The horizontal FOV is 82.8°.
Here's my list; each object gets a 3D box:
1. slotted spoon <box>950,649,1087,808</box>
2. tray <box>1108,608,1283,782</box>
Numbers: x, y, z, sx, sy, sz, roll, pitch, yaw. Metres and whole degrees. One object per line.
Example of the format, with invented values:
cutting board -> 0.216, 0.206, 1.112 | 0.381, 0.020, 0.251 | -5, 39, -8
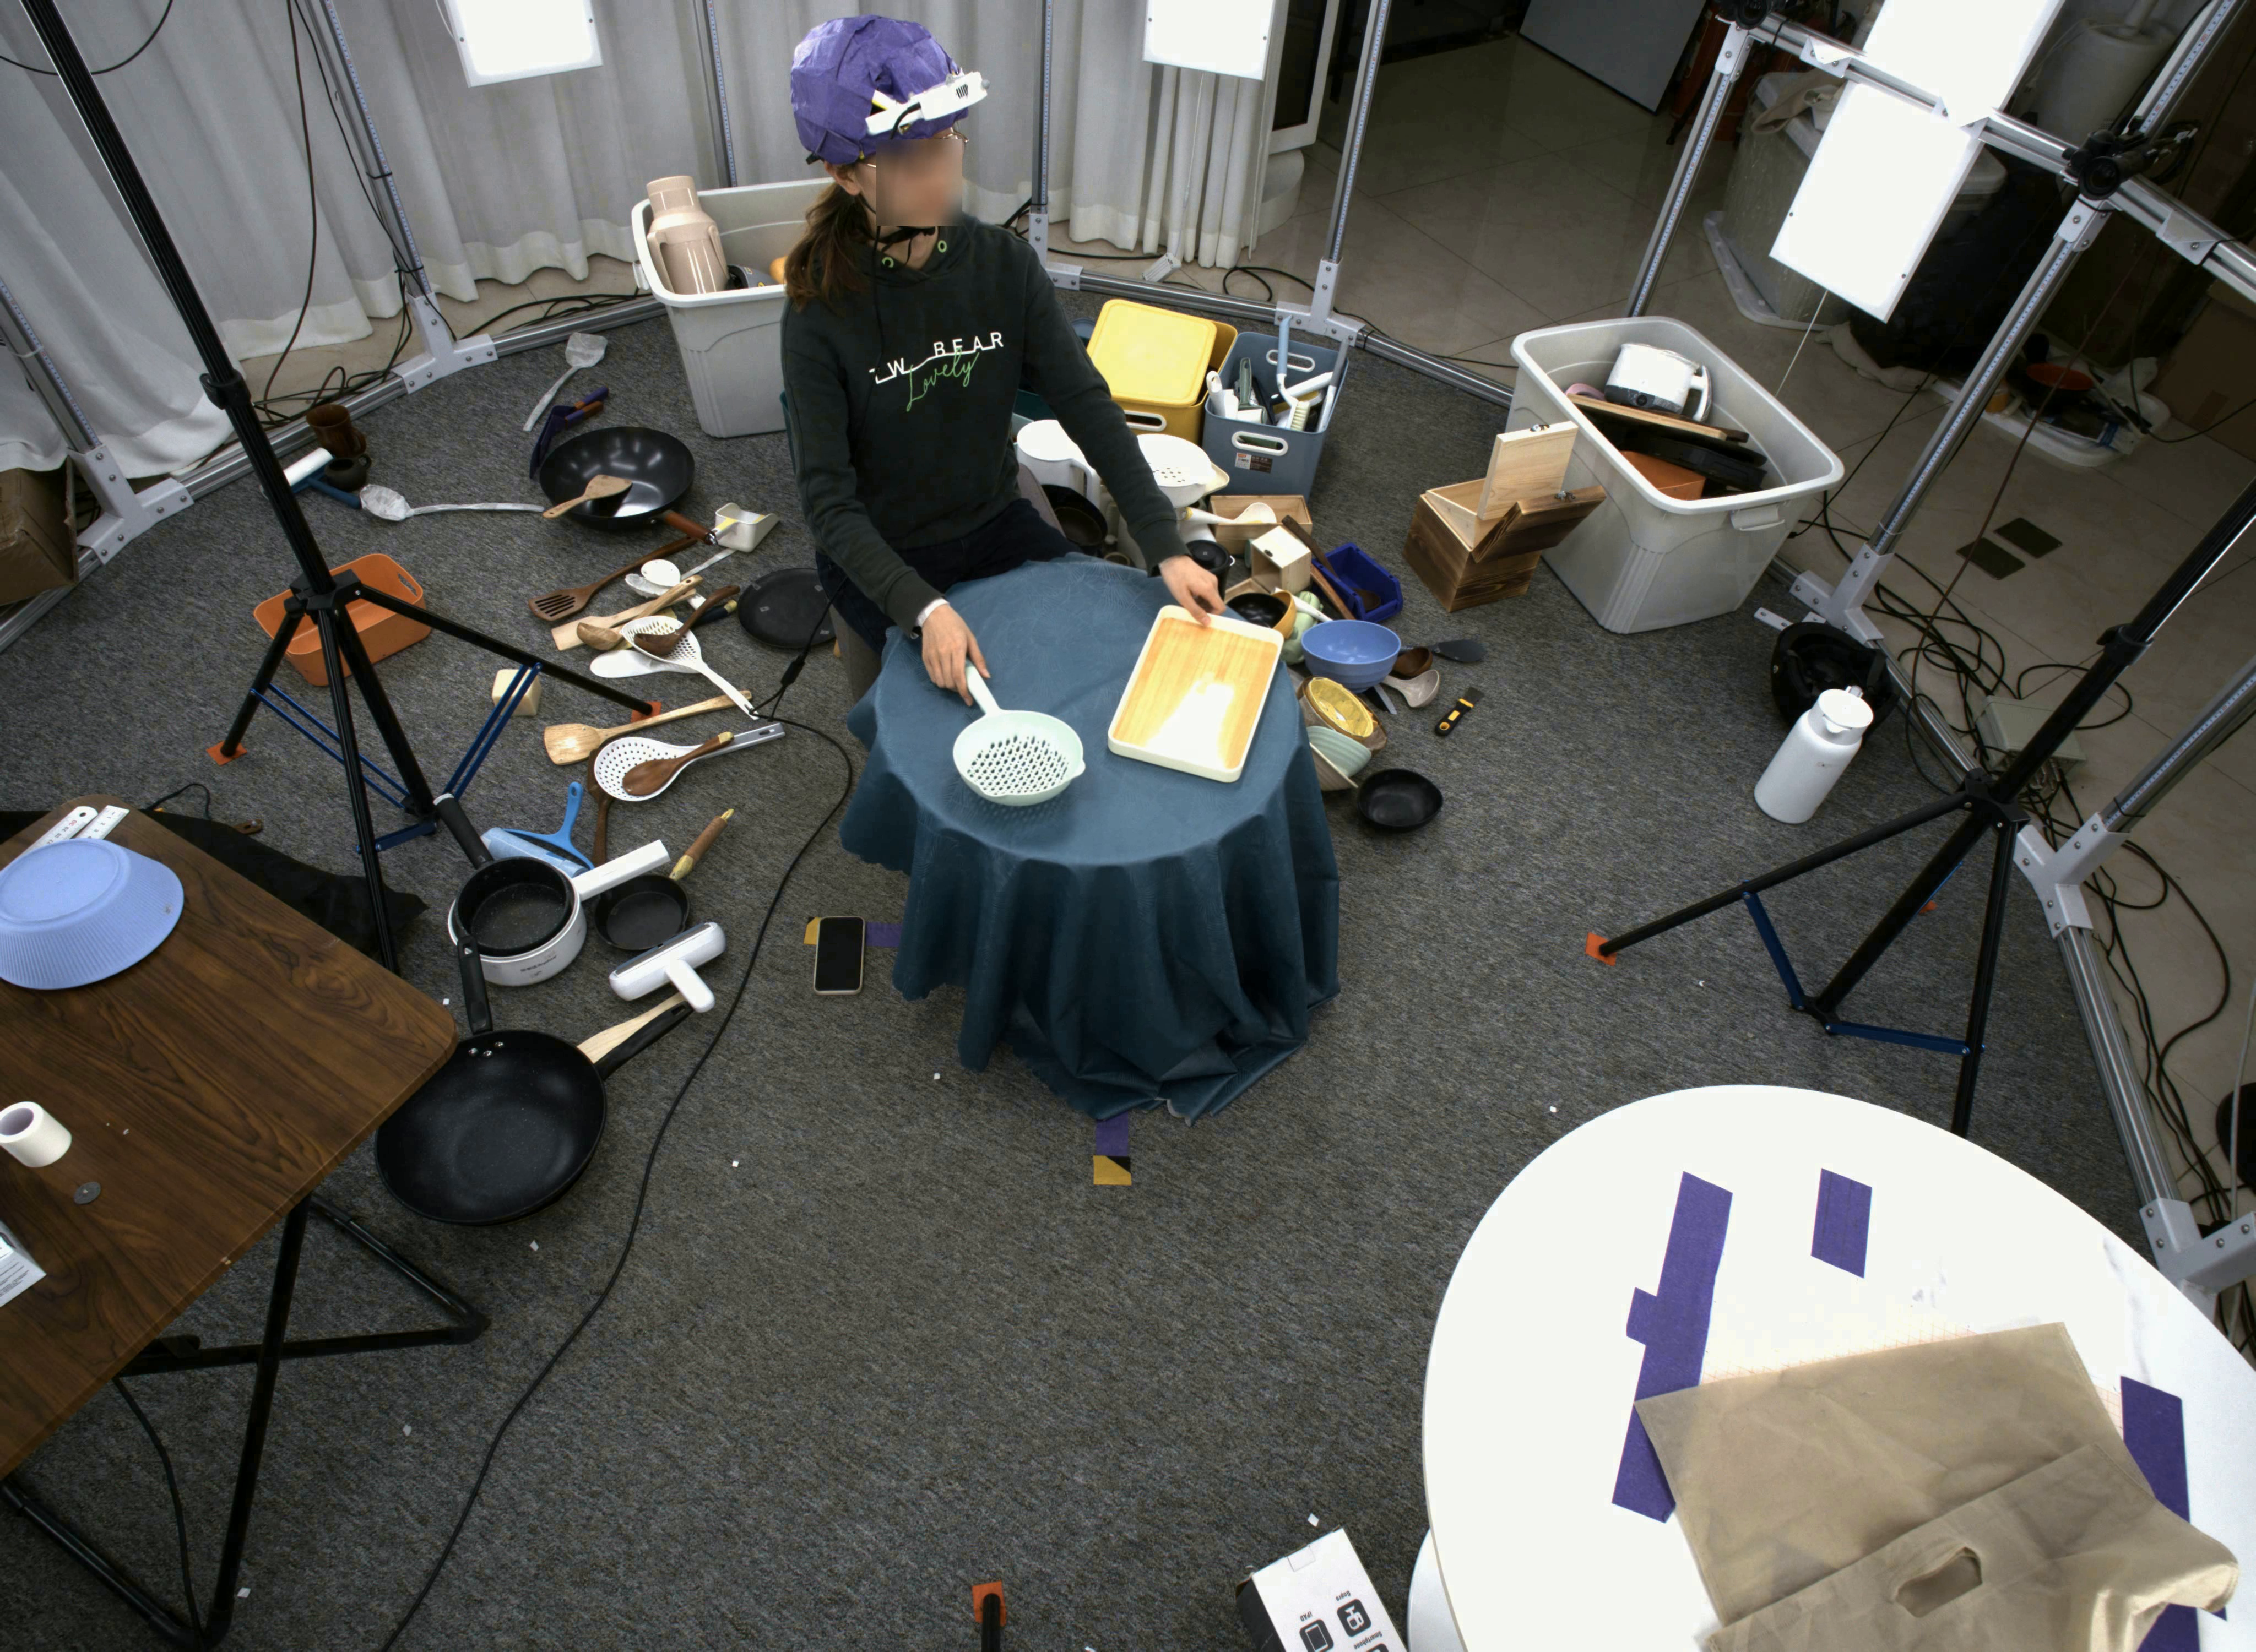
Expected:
slotted spoon -> -0.182, -0.150, 1.759 | 0.169, 0.073, 0.367 | -15, 52, -19
tray -> 0.100, -0.194, 1.843 | 0.192, 0.027, 0.306 | 15, 49, 9
